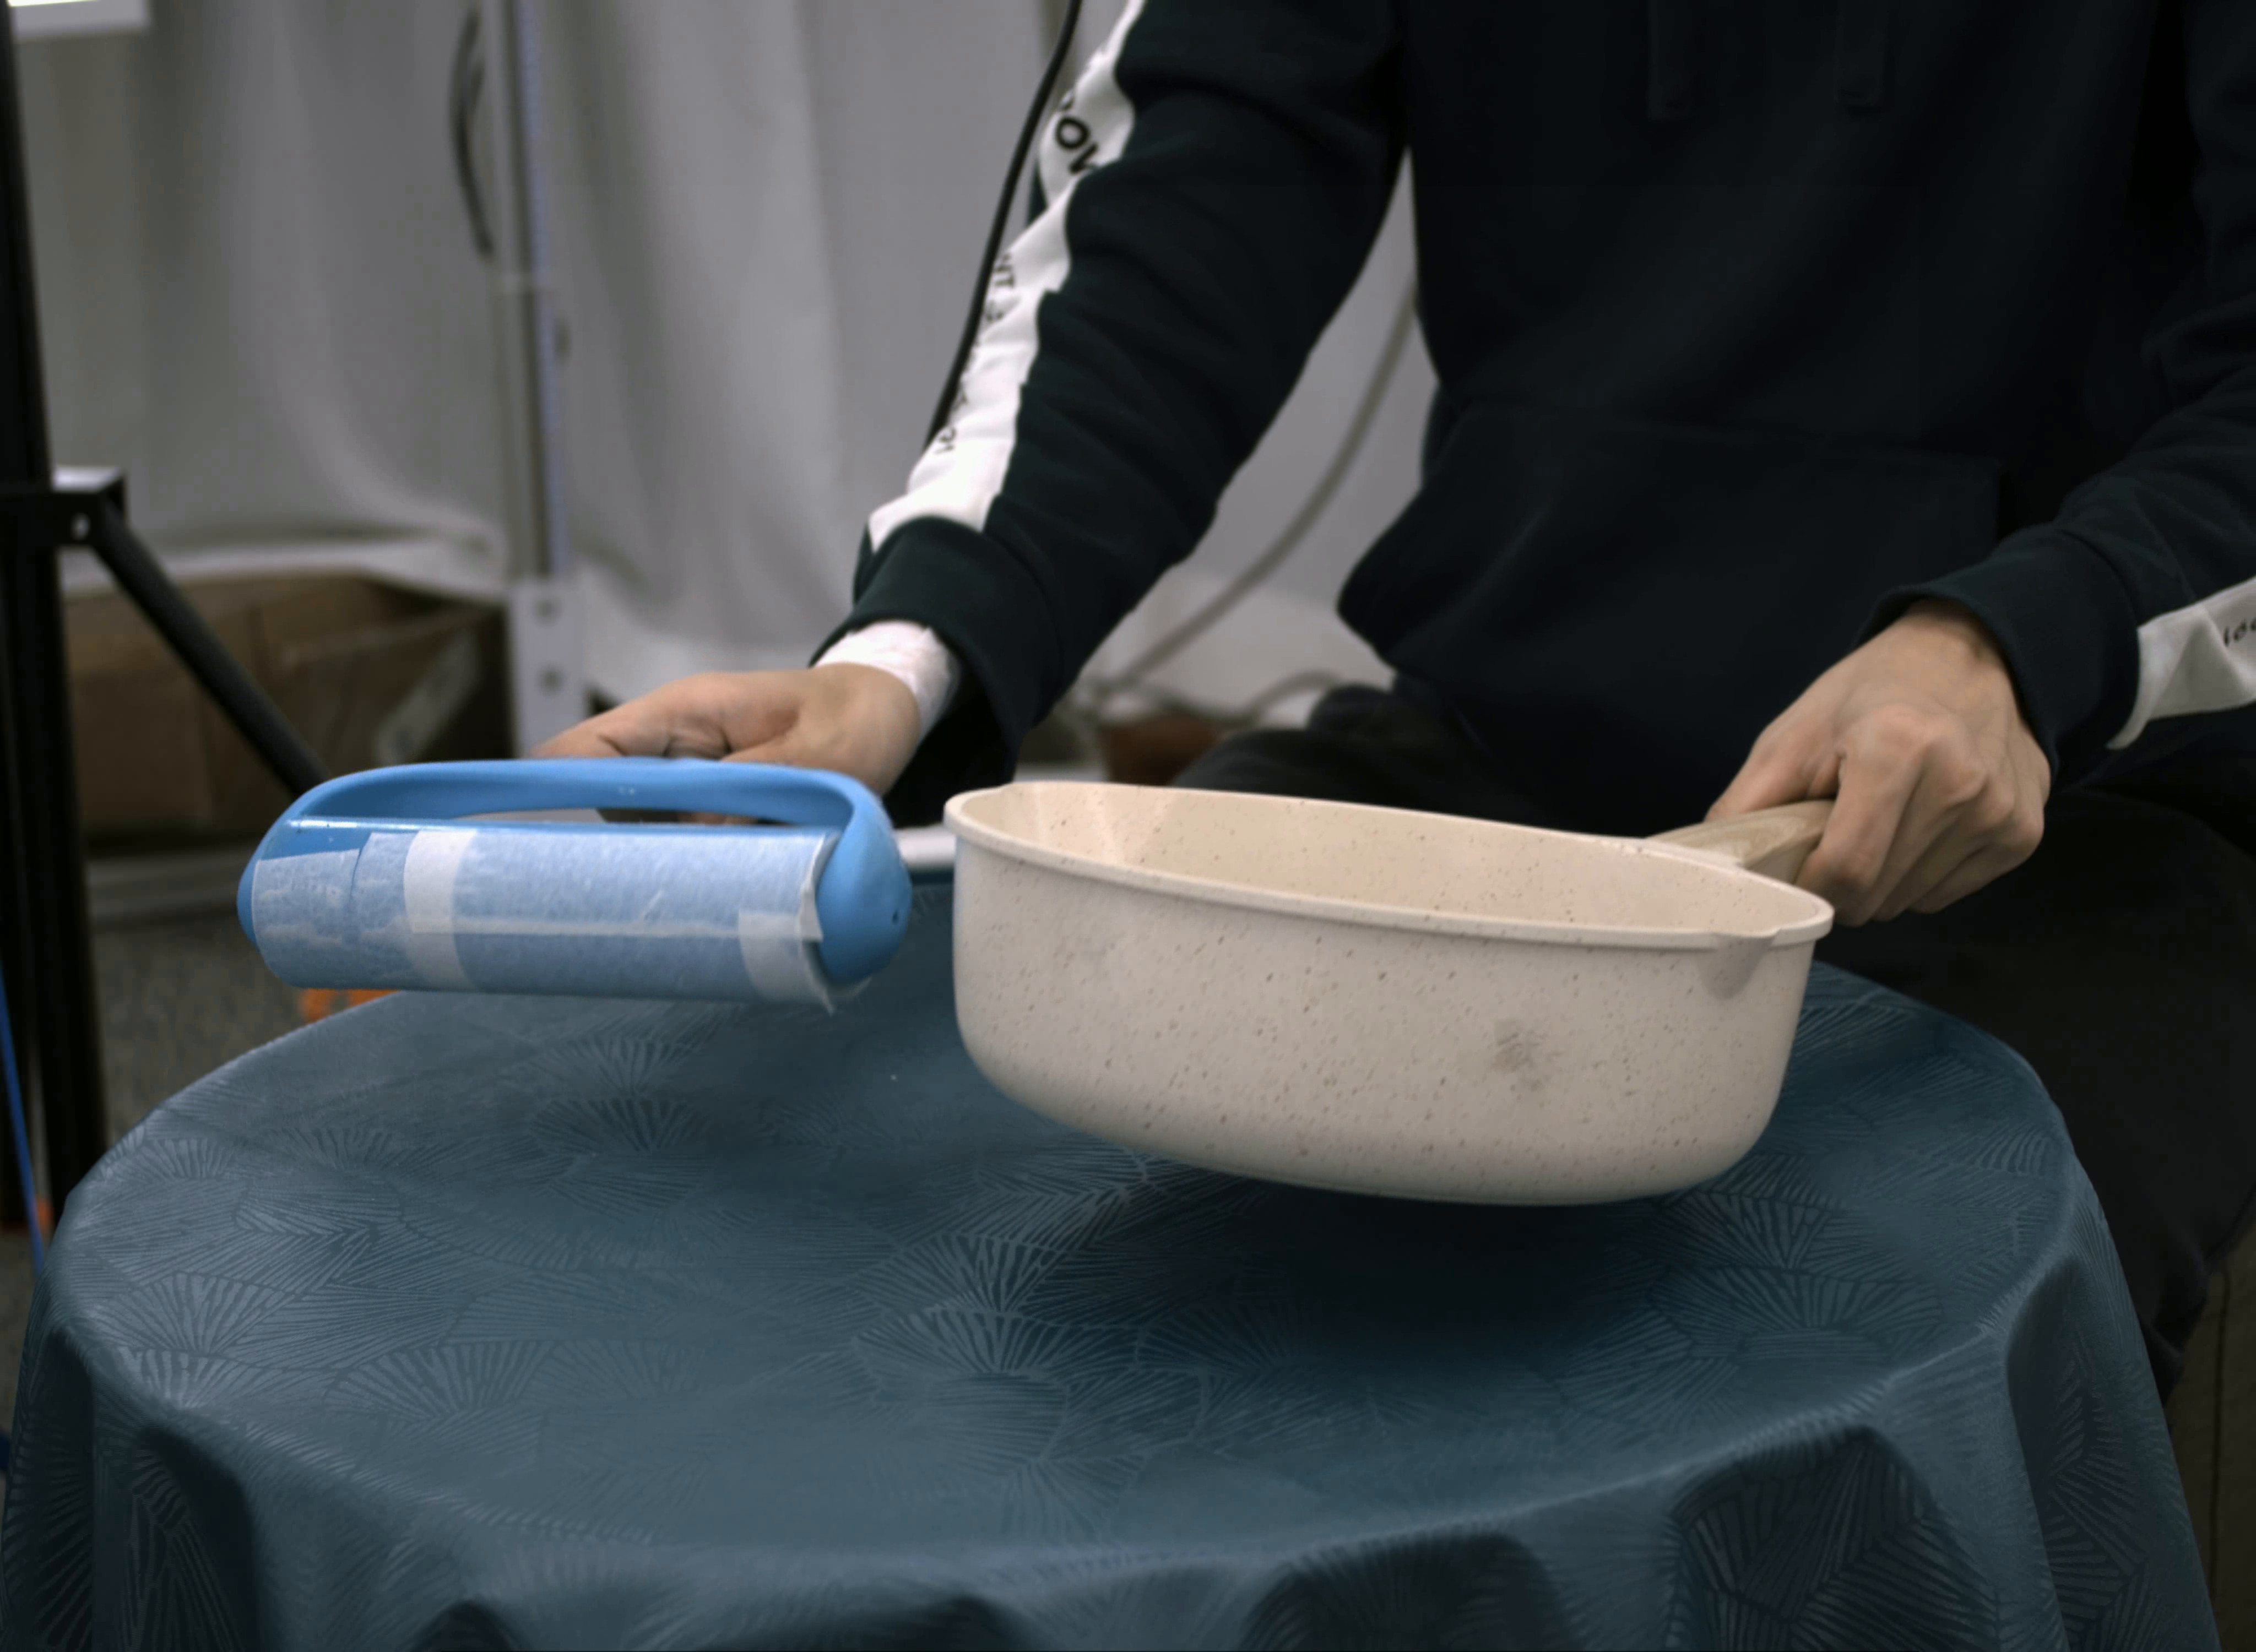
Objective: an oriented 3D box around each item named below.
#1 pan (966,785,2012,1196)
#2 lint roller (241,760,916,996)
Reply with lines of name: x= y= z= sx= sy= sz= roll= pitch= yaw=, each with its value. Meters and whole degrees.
pan: x=0.135 y=0.039 z=1.553 sx=0.269 sy=0.102 sz=0.423 roll=10 pitch=7 yaw=42
lint roller: x=-0.149 y=0.009 z=1.681 sx=0.232 sy=0.068 sz=0.178 roll=-2 pitch=13 yaw=24
